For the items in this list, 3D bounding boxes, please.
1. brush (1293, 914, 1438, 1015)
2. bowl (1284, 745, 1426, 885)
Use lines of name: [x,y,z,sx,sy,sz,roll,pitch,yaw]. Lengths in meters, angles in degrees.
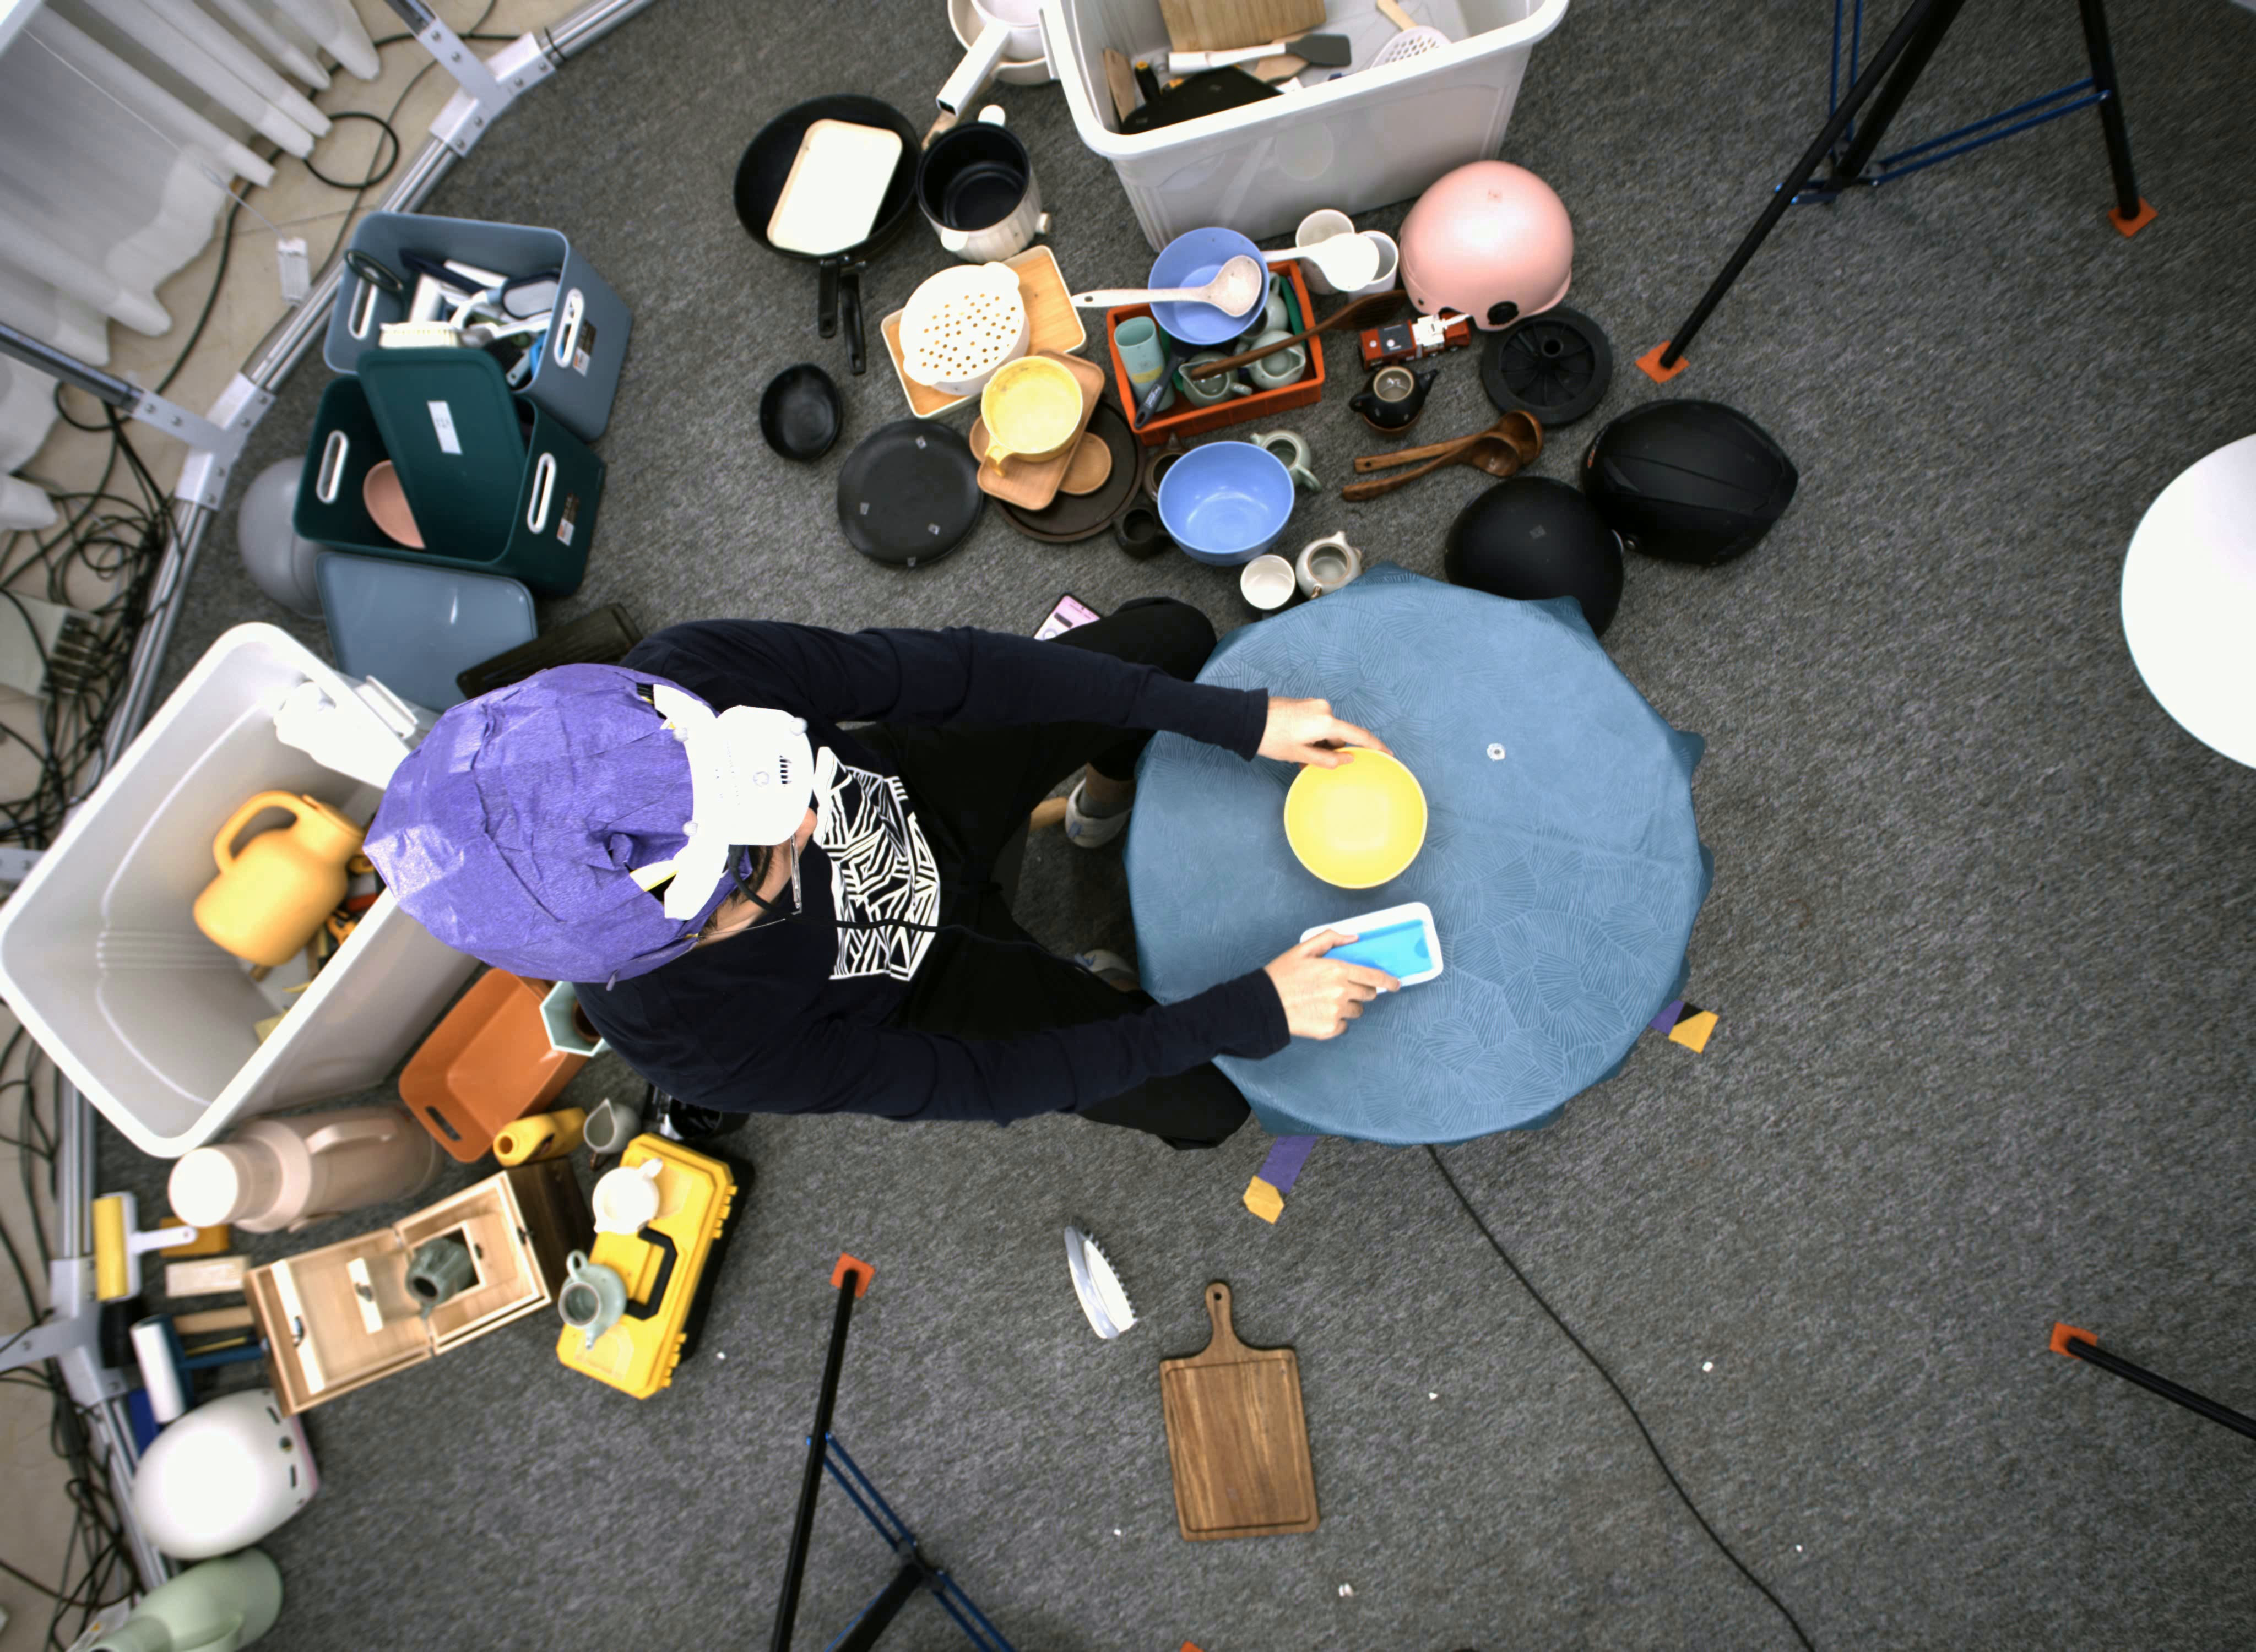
brush: [0.241,0.136,1.393,0.144,0.056,0.083,-13,87,-2]
bowl: [0.234,-0.014,1.435,0.146,0.059,0.146,1,97,5]
